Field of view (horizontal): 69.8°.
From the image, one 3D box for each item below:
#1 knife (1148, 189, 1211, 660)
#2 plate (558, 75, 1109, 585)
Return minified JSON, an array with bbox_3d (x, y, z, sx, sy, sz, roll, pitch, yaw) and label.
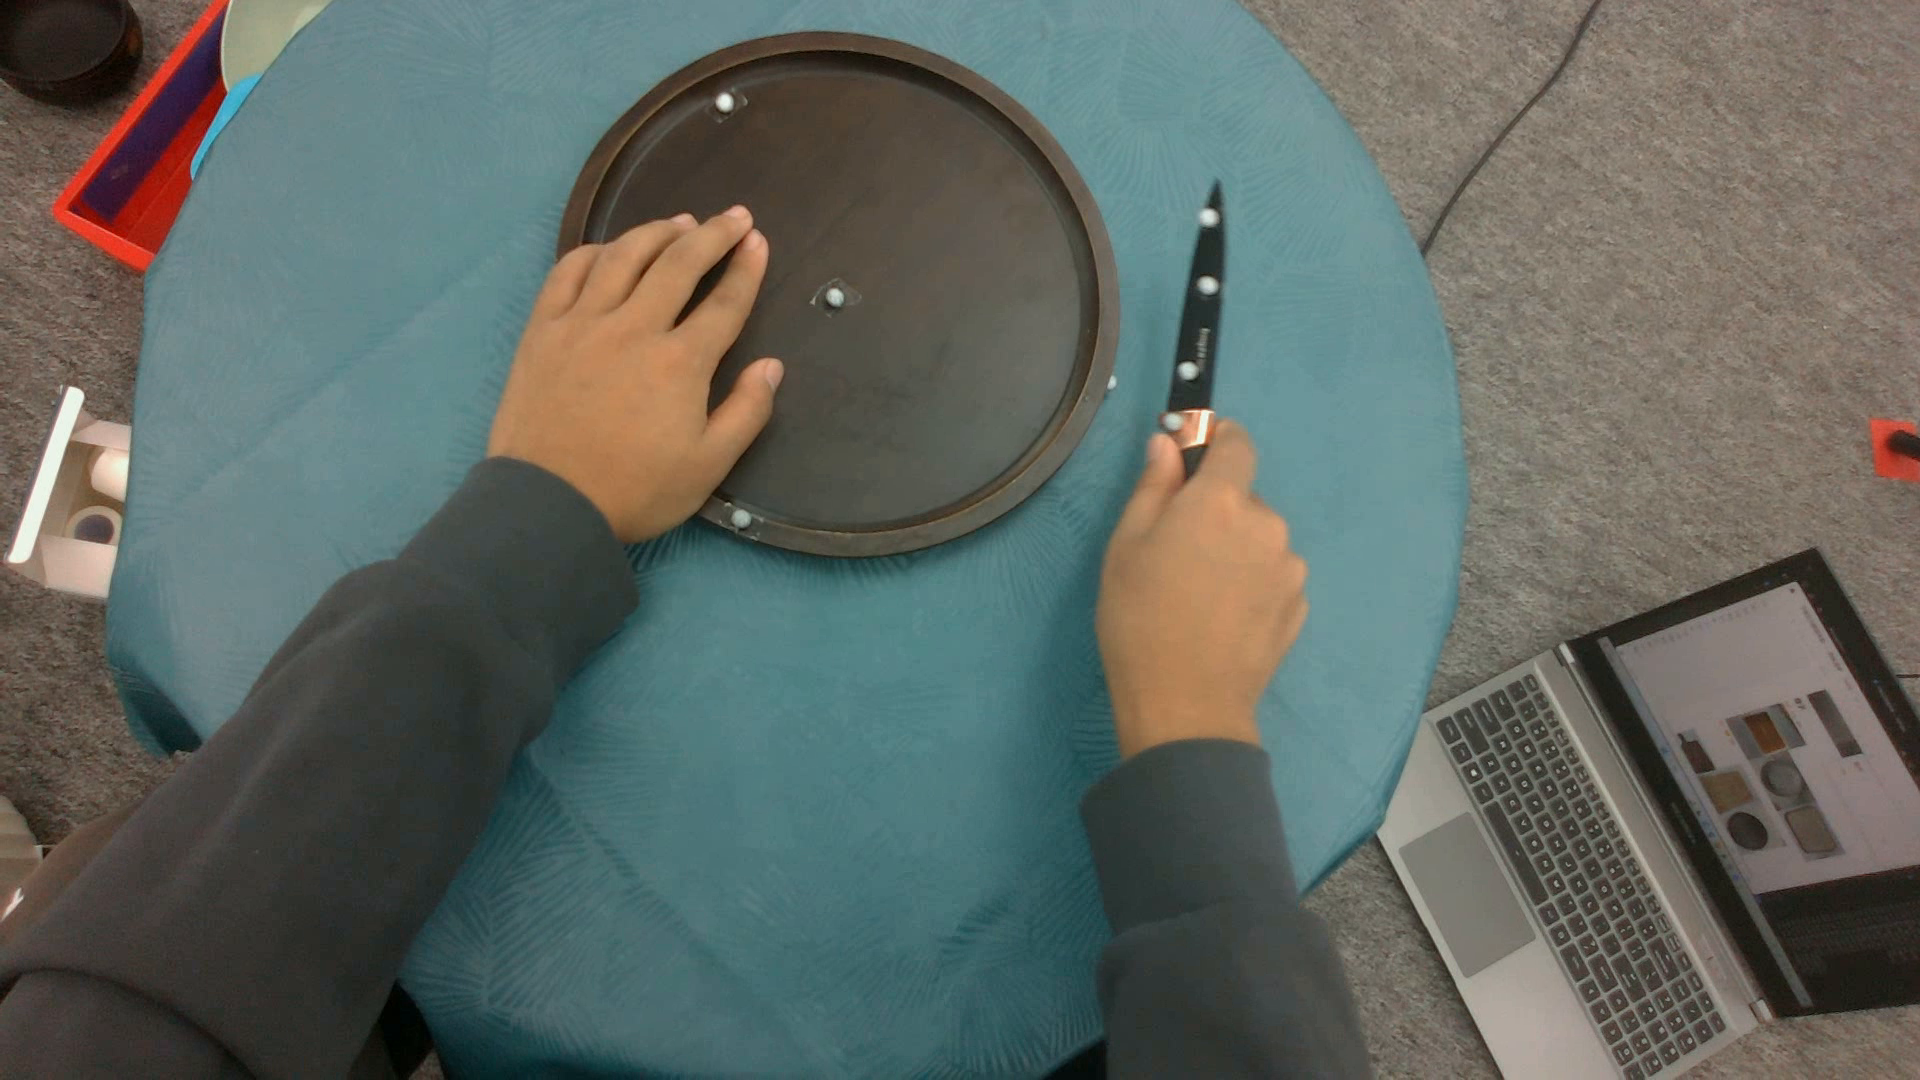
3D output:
[{"bbox_3d":[0.101,-0.057,0.625,0.026,0.017,0.226,-3,75,33],"label":"knife"},{"bbox_3d":[-0.055,-0.101,0.642,0.255,0.029,0.255,2,76,-9],"label":"plate"}]
